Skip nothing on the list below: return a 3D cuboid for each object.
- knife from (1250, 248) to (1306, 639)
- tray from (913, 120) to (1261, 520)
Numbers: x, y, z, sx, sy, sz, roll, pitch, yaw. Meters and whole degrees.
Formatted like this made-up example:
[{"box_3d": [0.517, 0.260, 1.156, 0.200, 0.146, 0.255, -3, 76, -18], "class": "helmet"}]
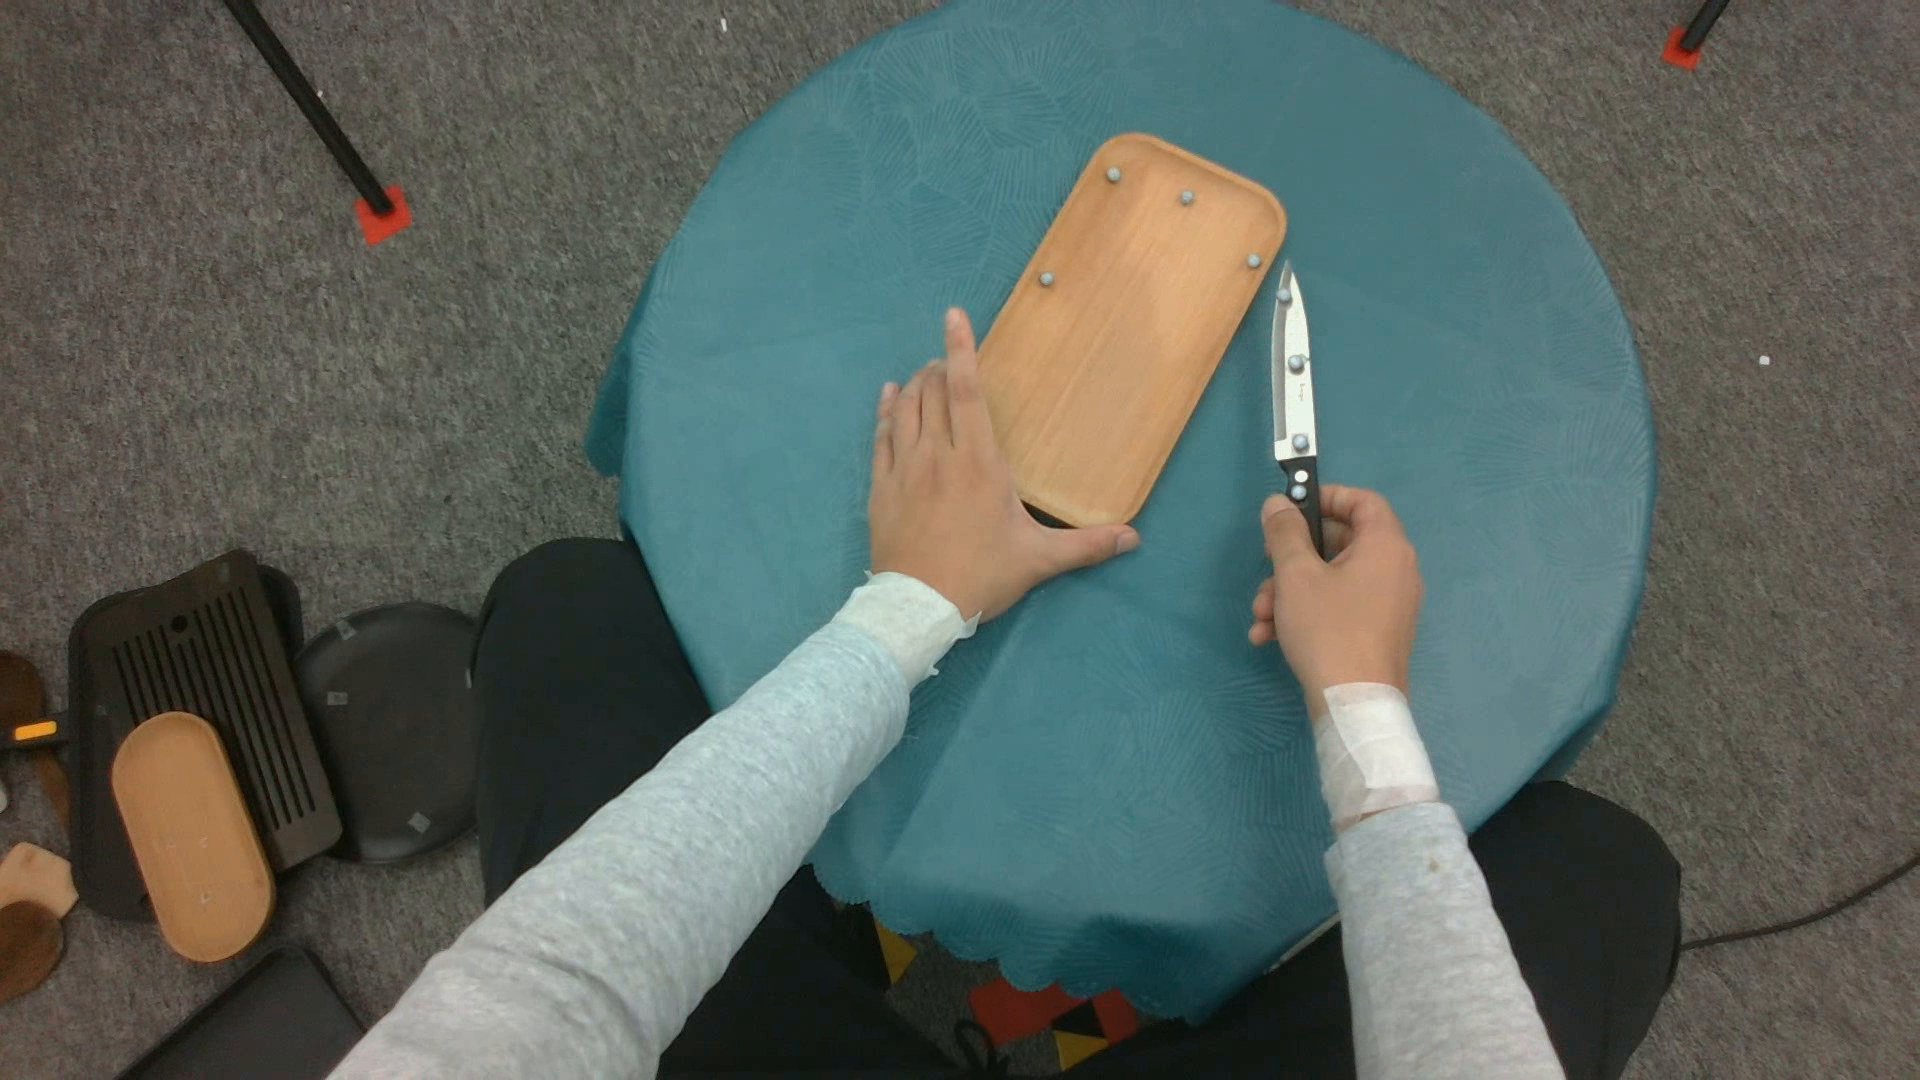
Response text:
[{"box_3d": [0.177, -0.060, 0.764, 0.024, 0.016, 0.239, -4, 68, 15], "class": "knife"}, {"box_3d": [0.078, -0.134, 0.813, 0.130, 0.023, 0.251, 27, 73, 10], "class": "tray"}]
